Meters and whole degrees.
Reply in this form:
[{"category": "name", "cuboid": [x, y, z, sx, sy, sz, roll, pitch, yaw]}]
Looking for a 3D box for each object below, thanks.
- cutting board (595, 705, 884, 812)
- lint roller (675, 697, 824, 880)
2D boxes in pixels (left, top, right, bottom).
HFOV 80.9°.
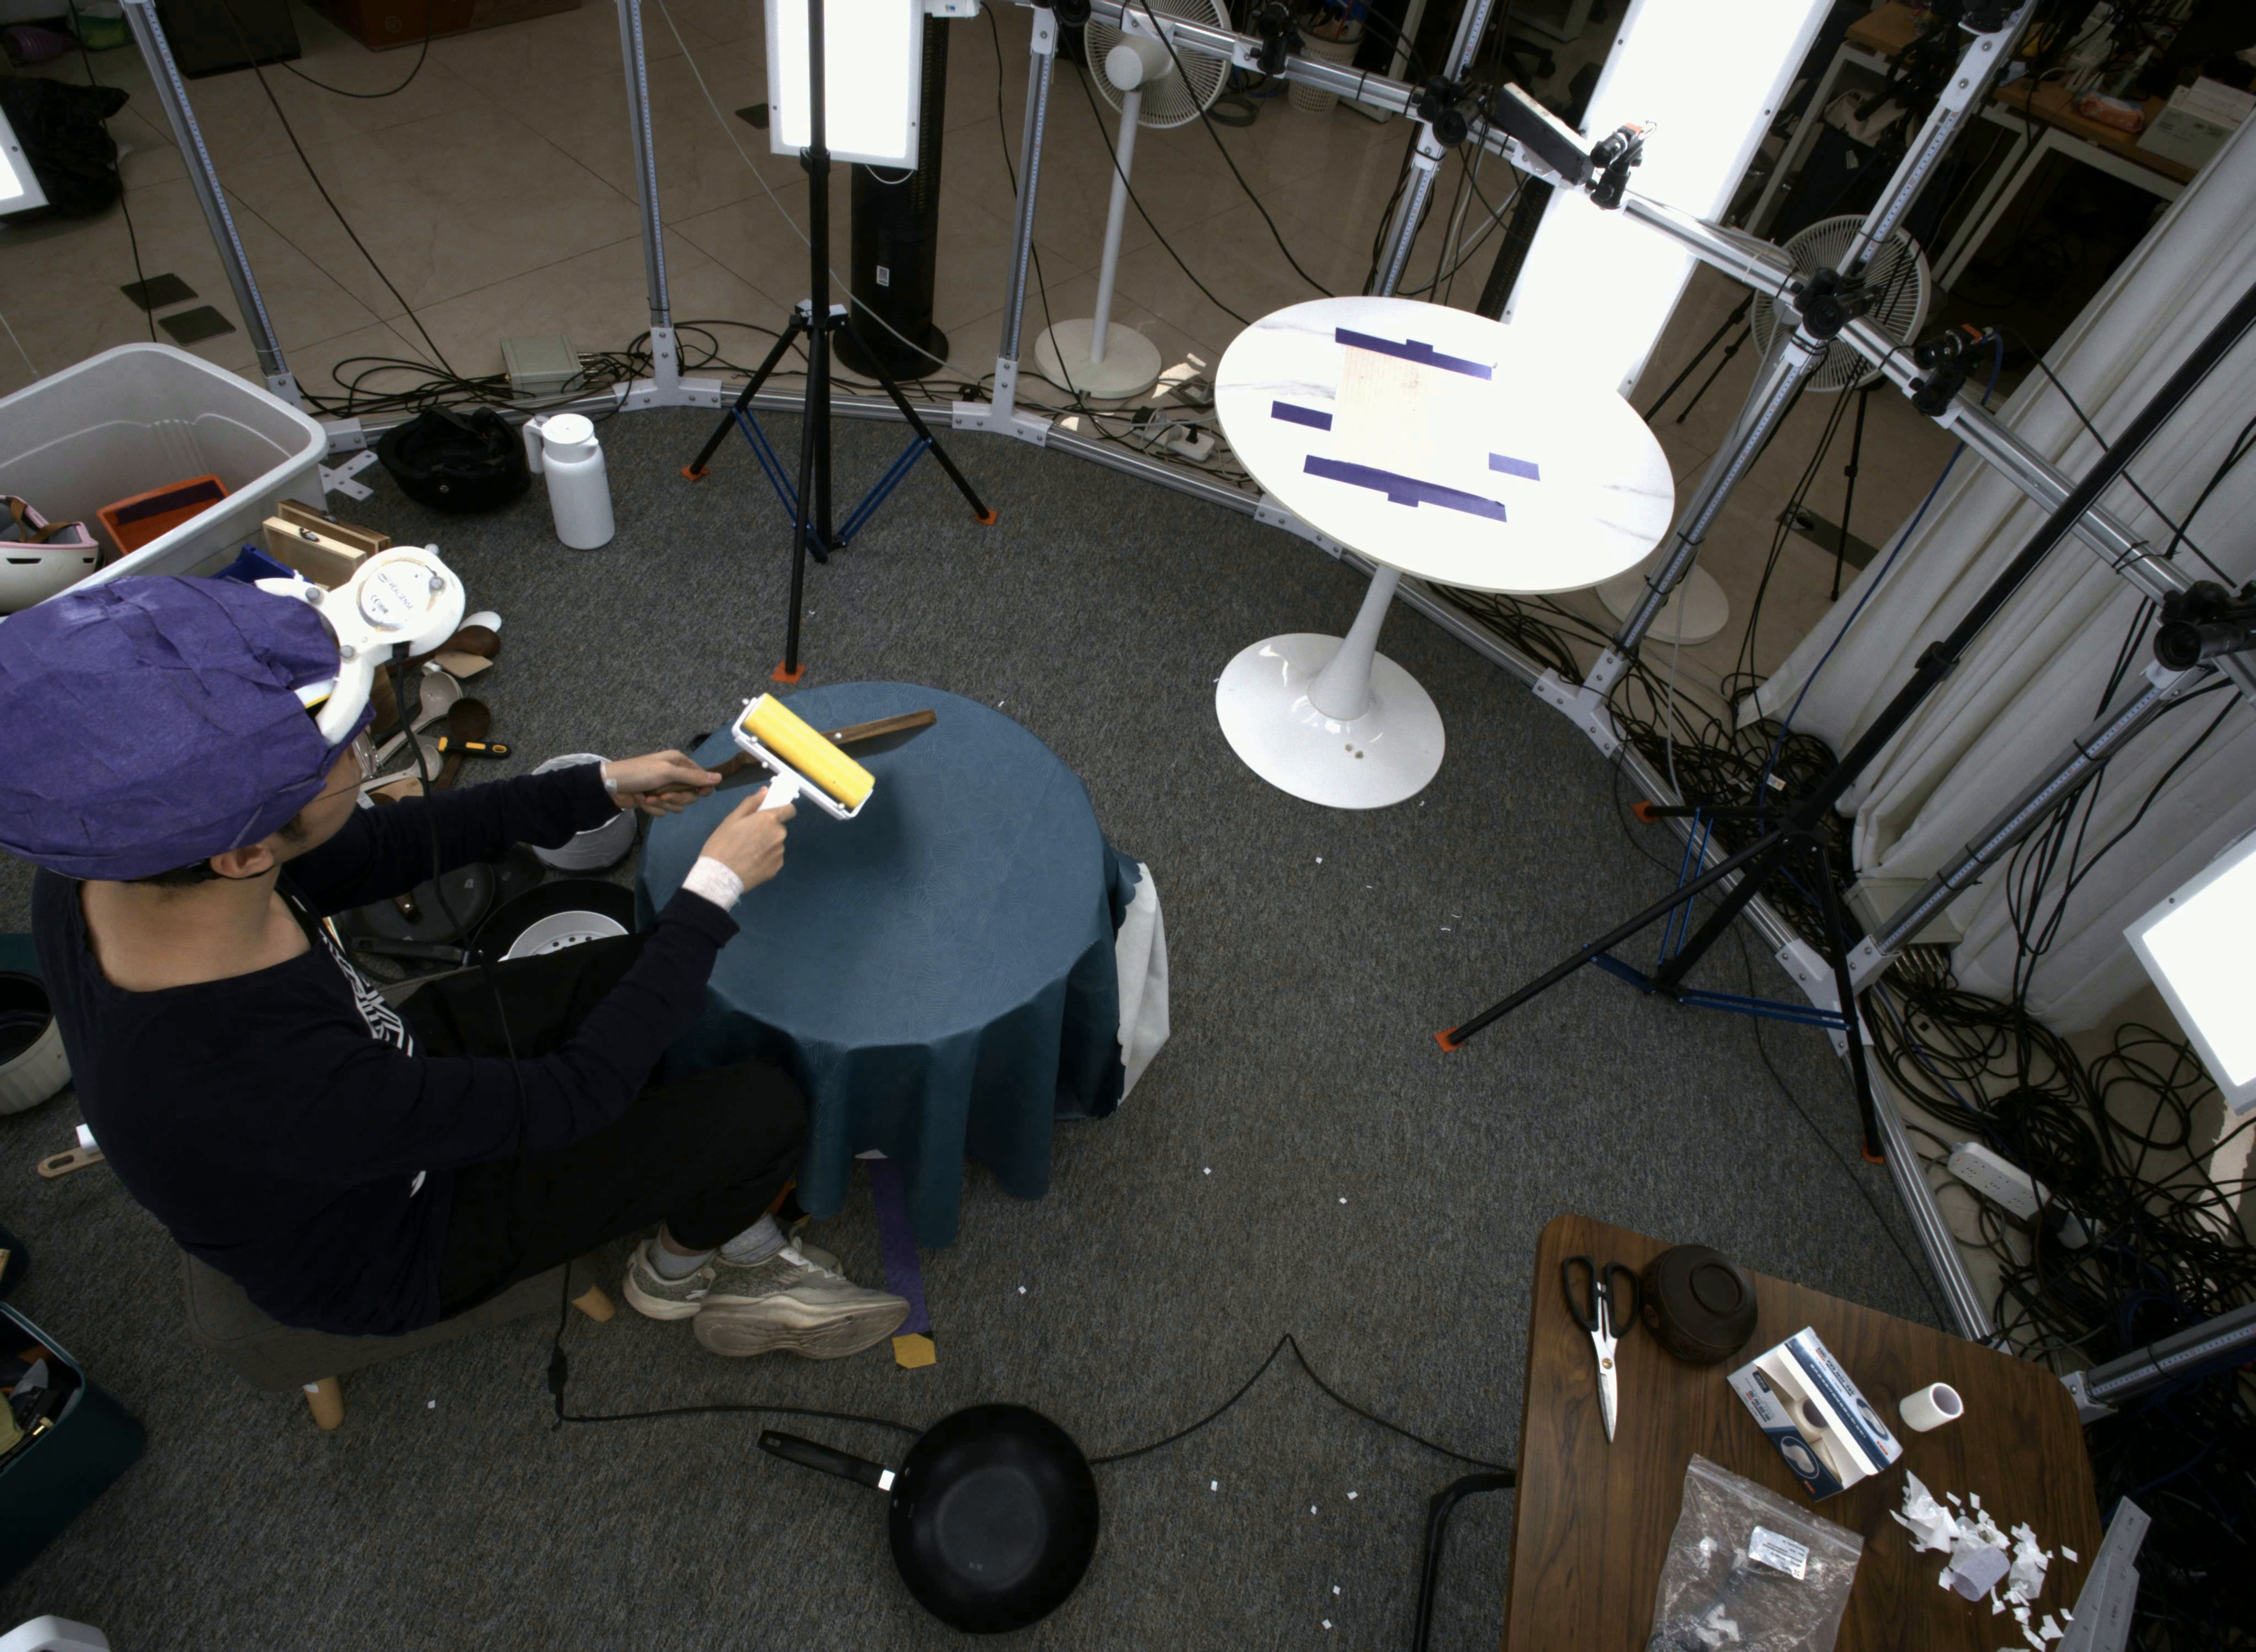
[{"category": "cutting board", "cuboid": [-0.490, -0.078, 1.601, 0.354, 0.197, 0.023, -19, 90, -31]}, {"category": "lint roller", "cuboid": [-0.442, -0.027, 1.434, 0.179, 0.050, 0.189, 37, 45, -27]}]
